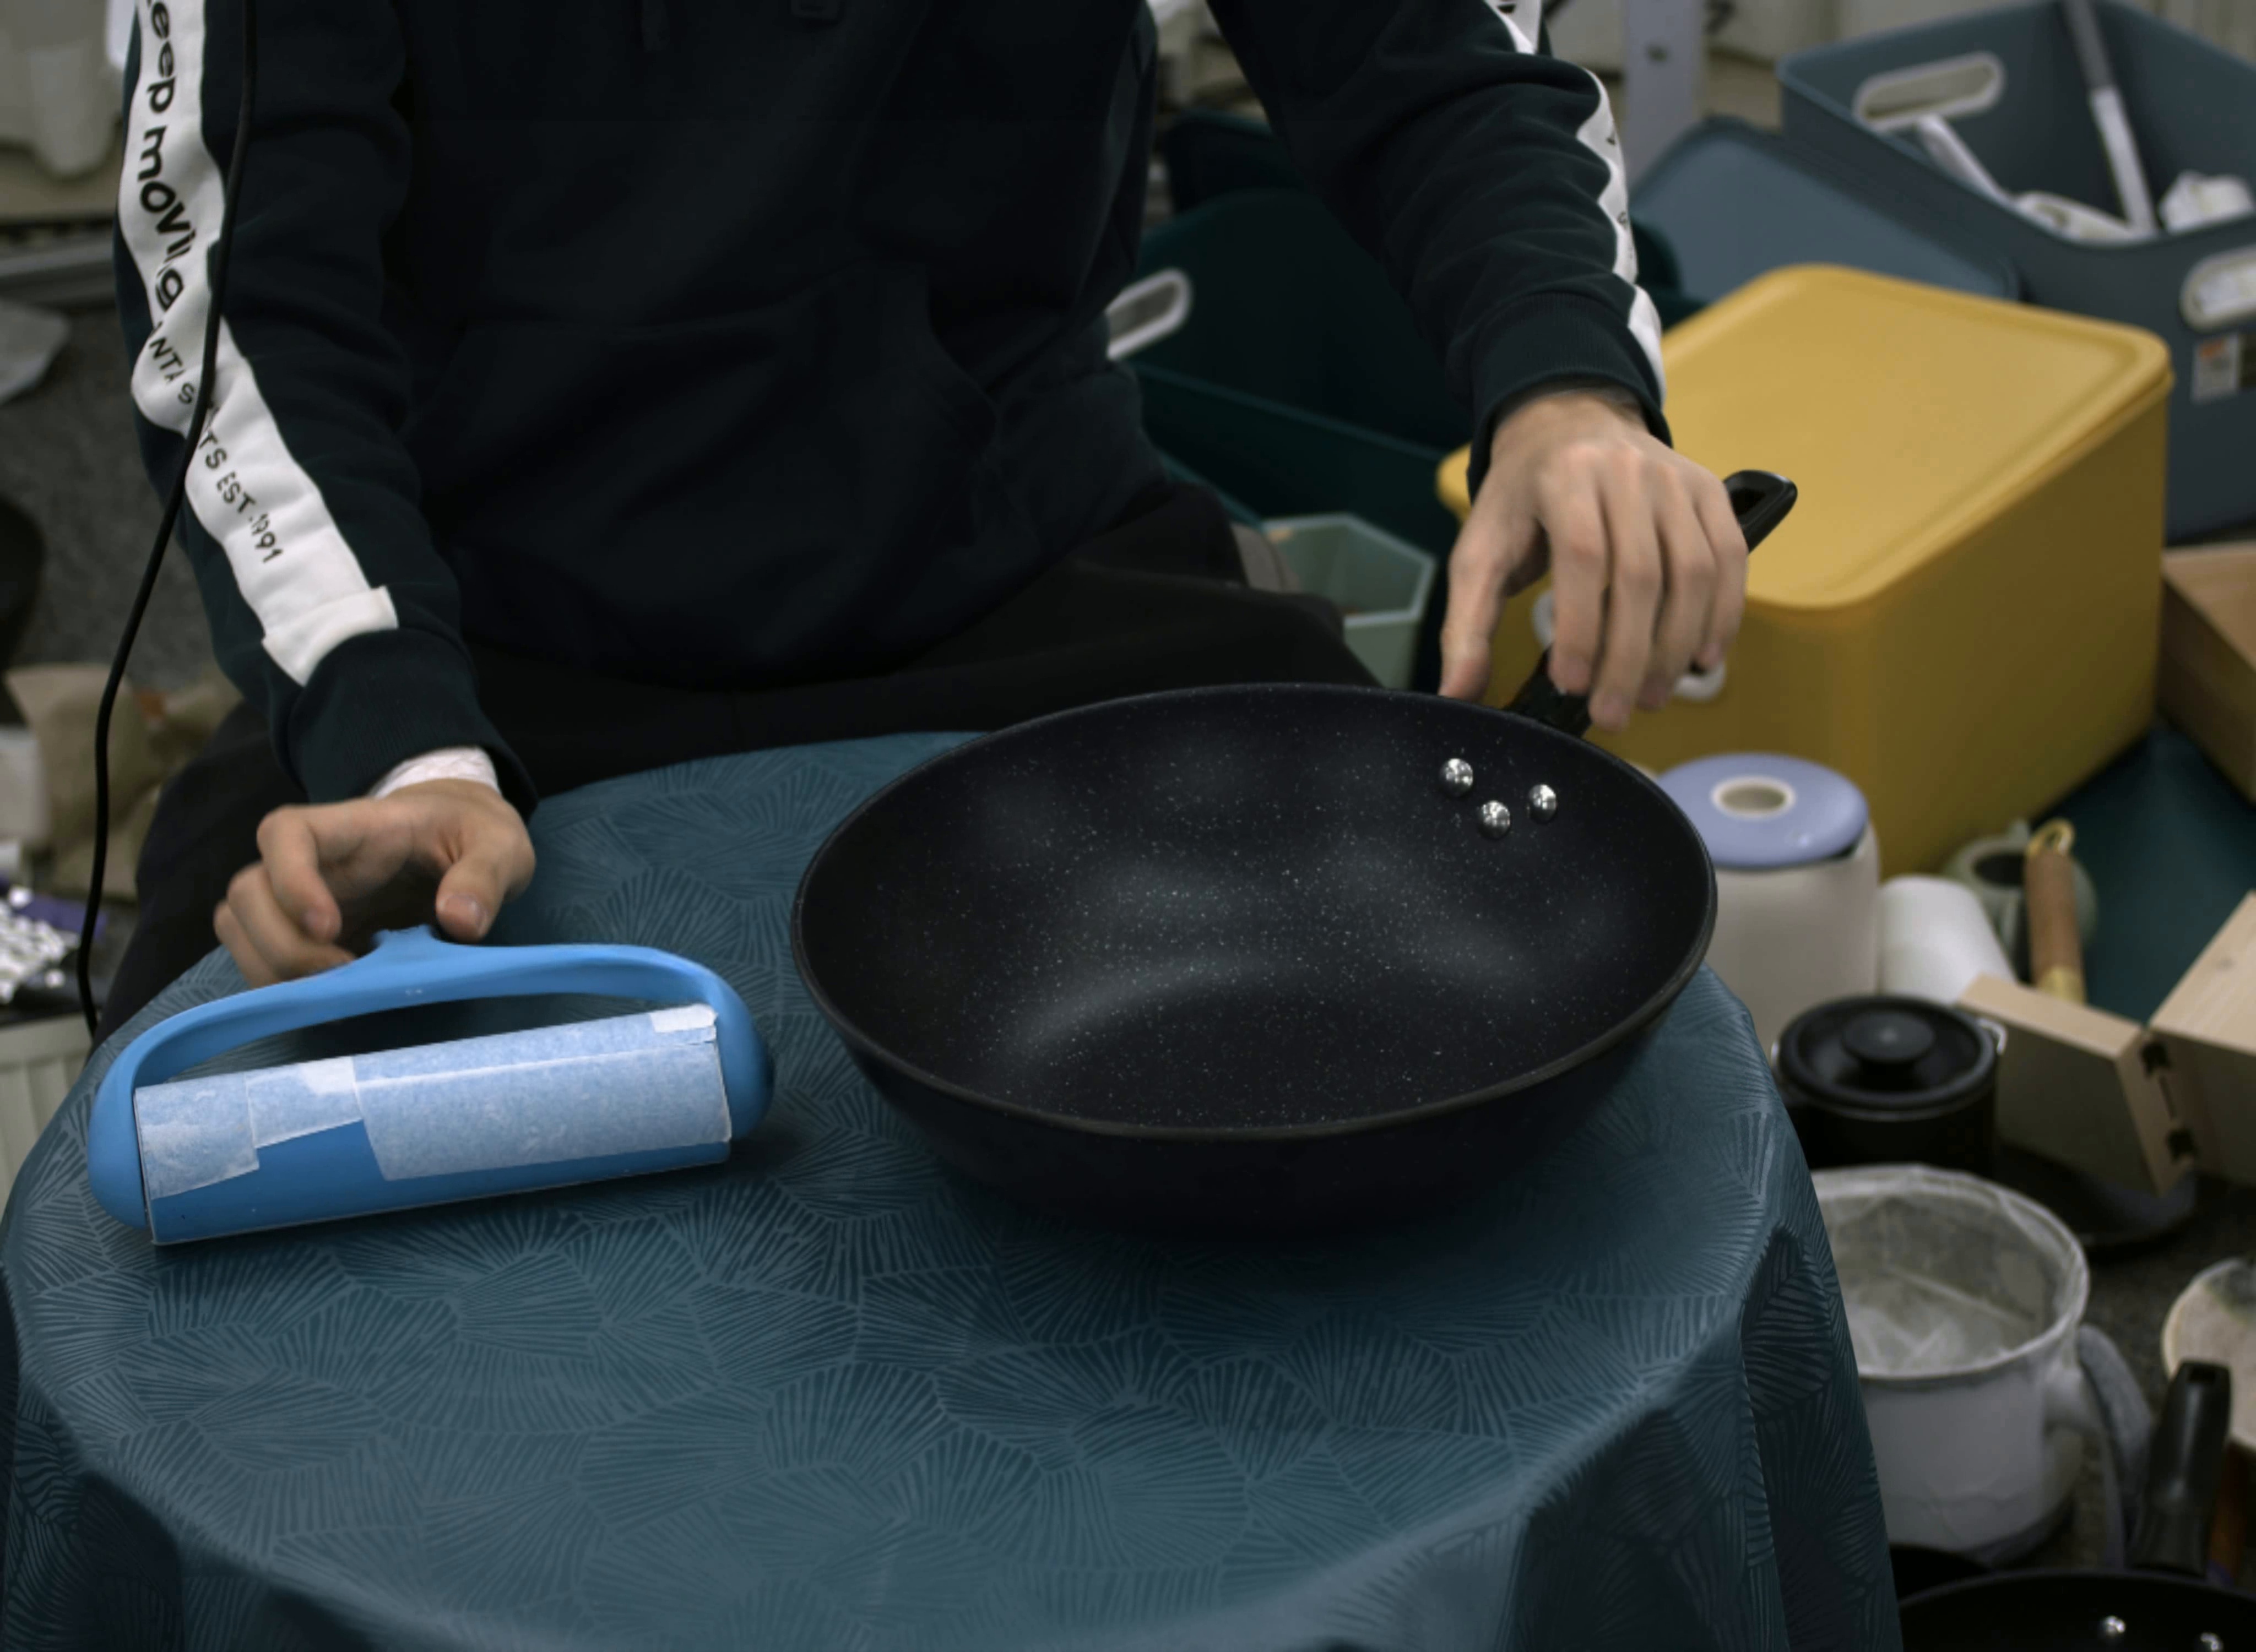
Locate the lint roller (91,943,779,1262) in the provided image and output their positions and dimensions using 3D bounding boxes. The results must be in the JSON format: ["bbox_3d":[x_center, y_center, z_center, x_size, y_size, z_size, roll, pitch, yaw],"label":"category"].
[{"bbox_3d":[-0.244,0.075,1.915,0.229,0.067,0.182,-11,29,-12],"label":"lint roller"}]

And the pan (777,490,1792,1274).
[{"bbox_3d":[0.090,0.020,1.933,0.309,0.110,0.484,19,35,33],"label":"pan"}]
